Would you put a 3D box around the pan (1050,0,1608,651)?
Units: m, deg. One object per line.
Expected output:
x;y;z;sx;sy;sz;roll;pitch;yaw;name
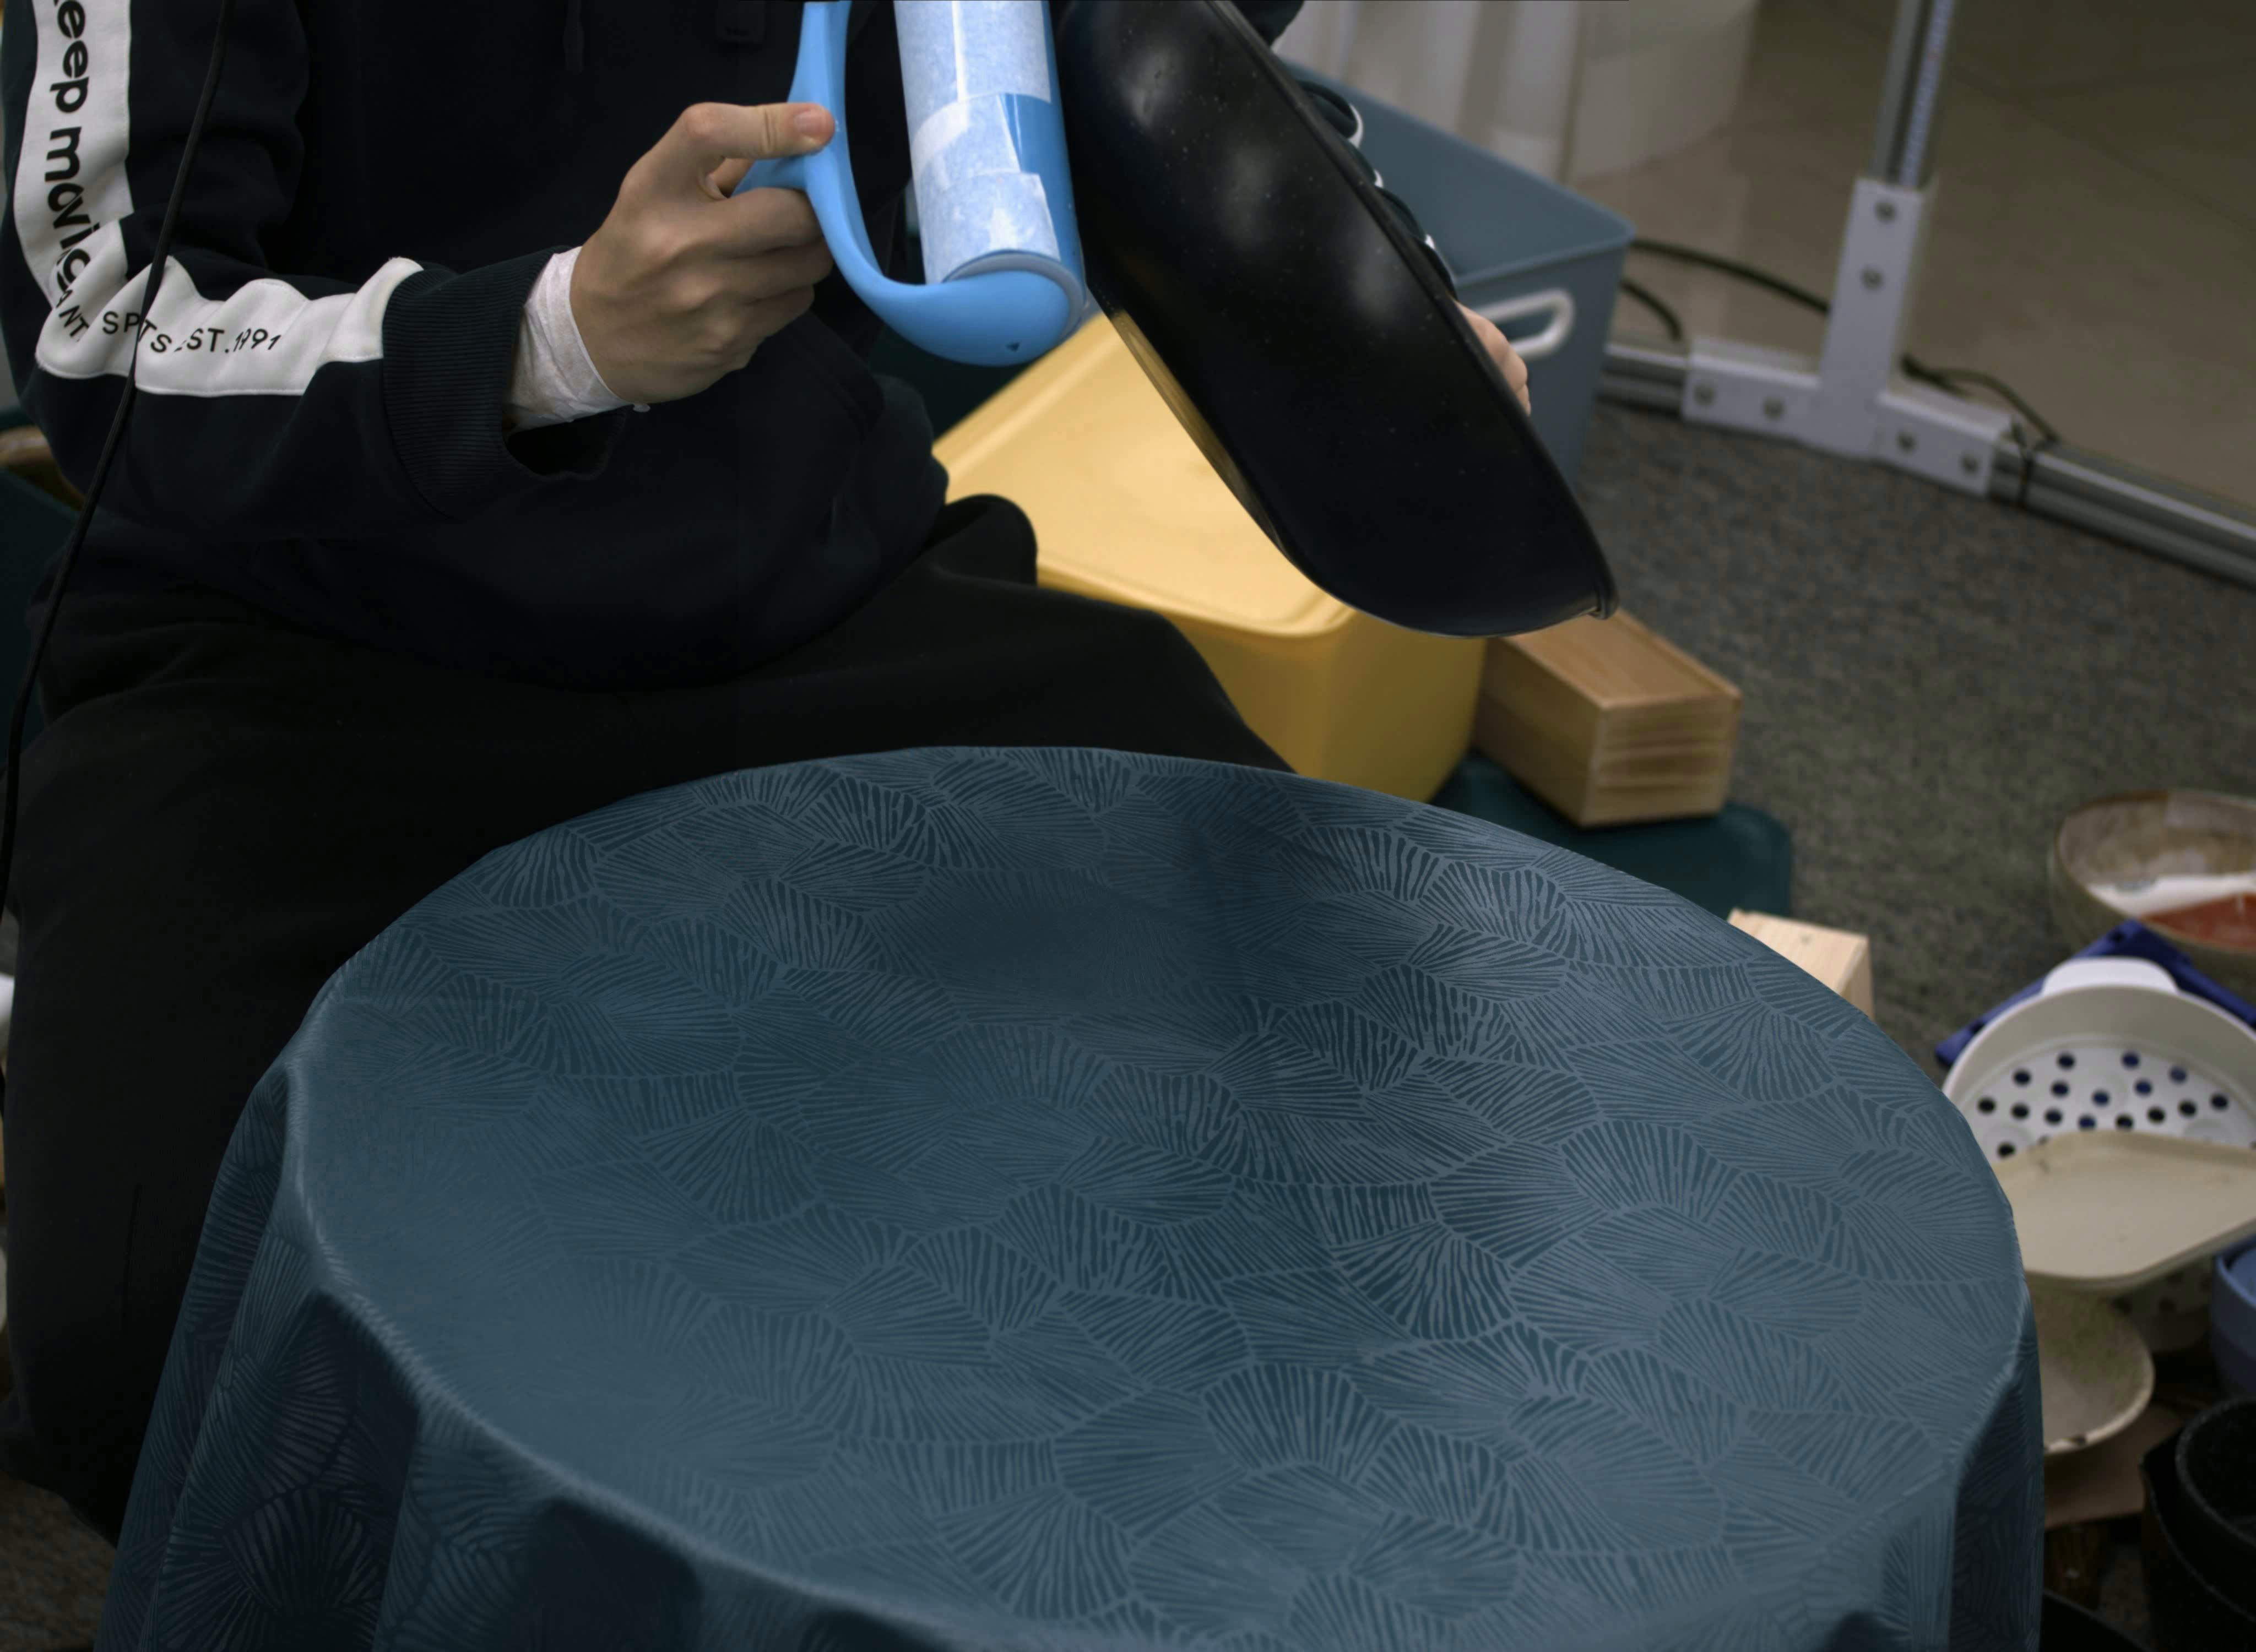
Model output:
0.068;-0.168;1.974;0.312;0.111;0.475;56;0;13;pan

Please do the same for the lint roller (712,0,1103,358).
-0.094;-0.224;1.858;0.067;0.180;0.231;33;34;-43;lint roller
